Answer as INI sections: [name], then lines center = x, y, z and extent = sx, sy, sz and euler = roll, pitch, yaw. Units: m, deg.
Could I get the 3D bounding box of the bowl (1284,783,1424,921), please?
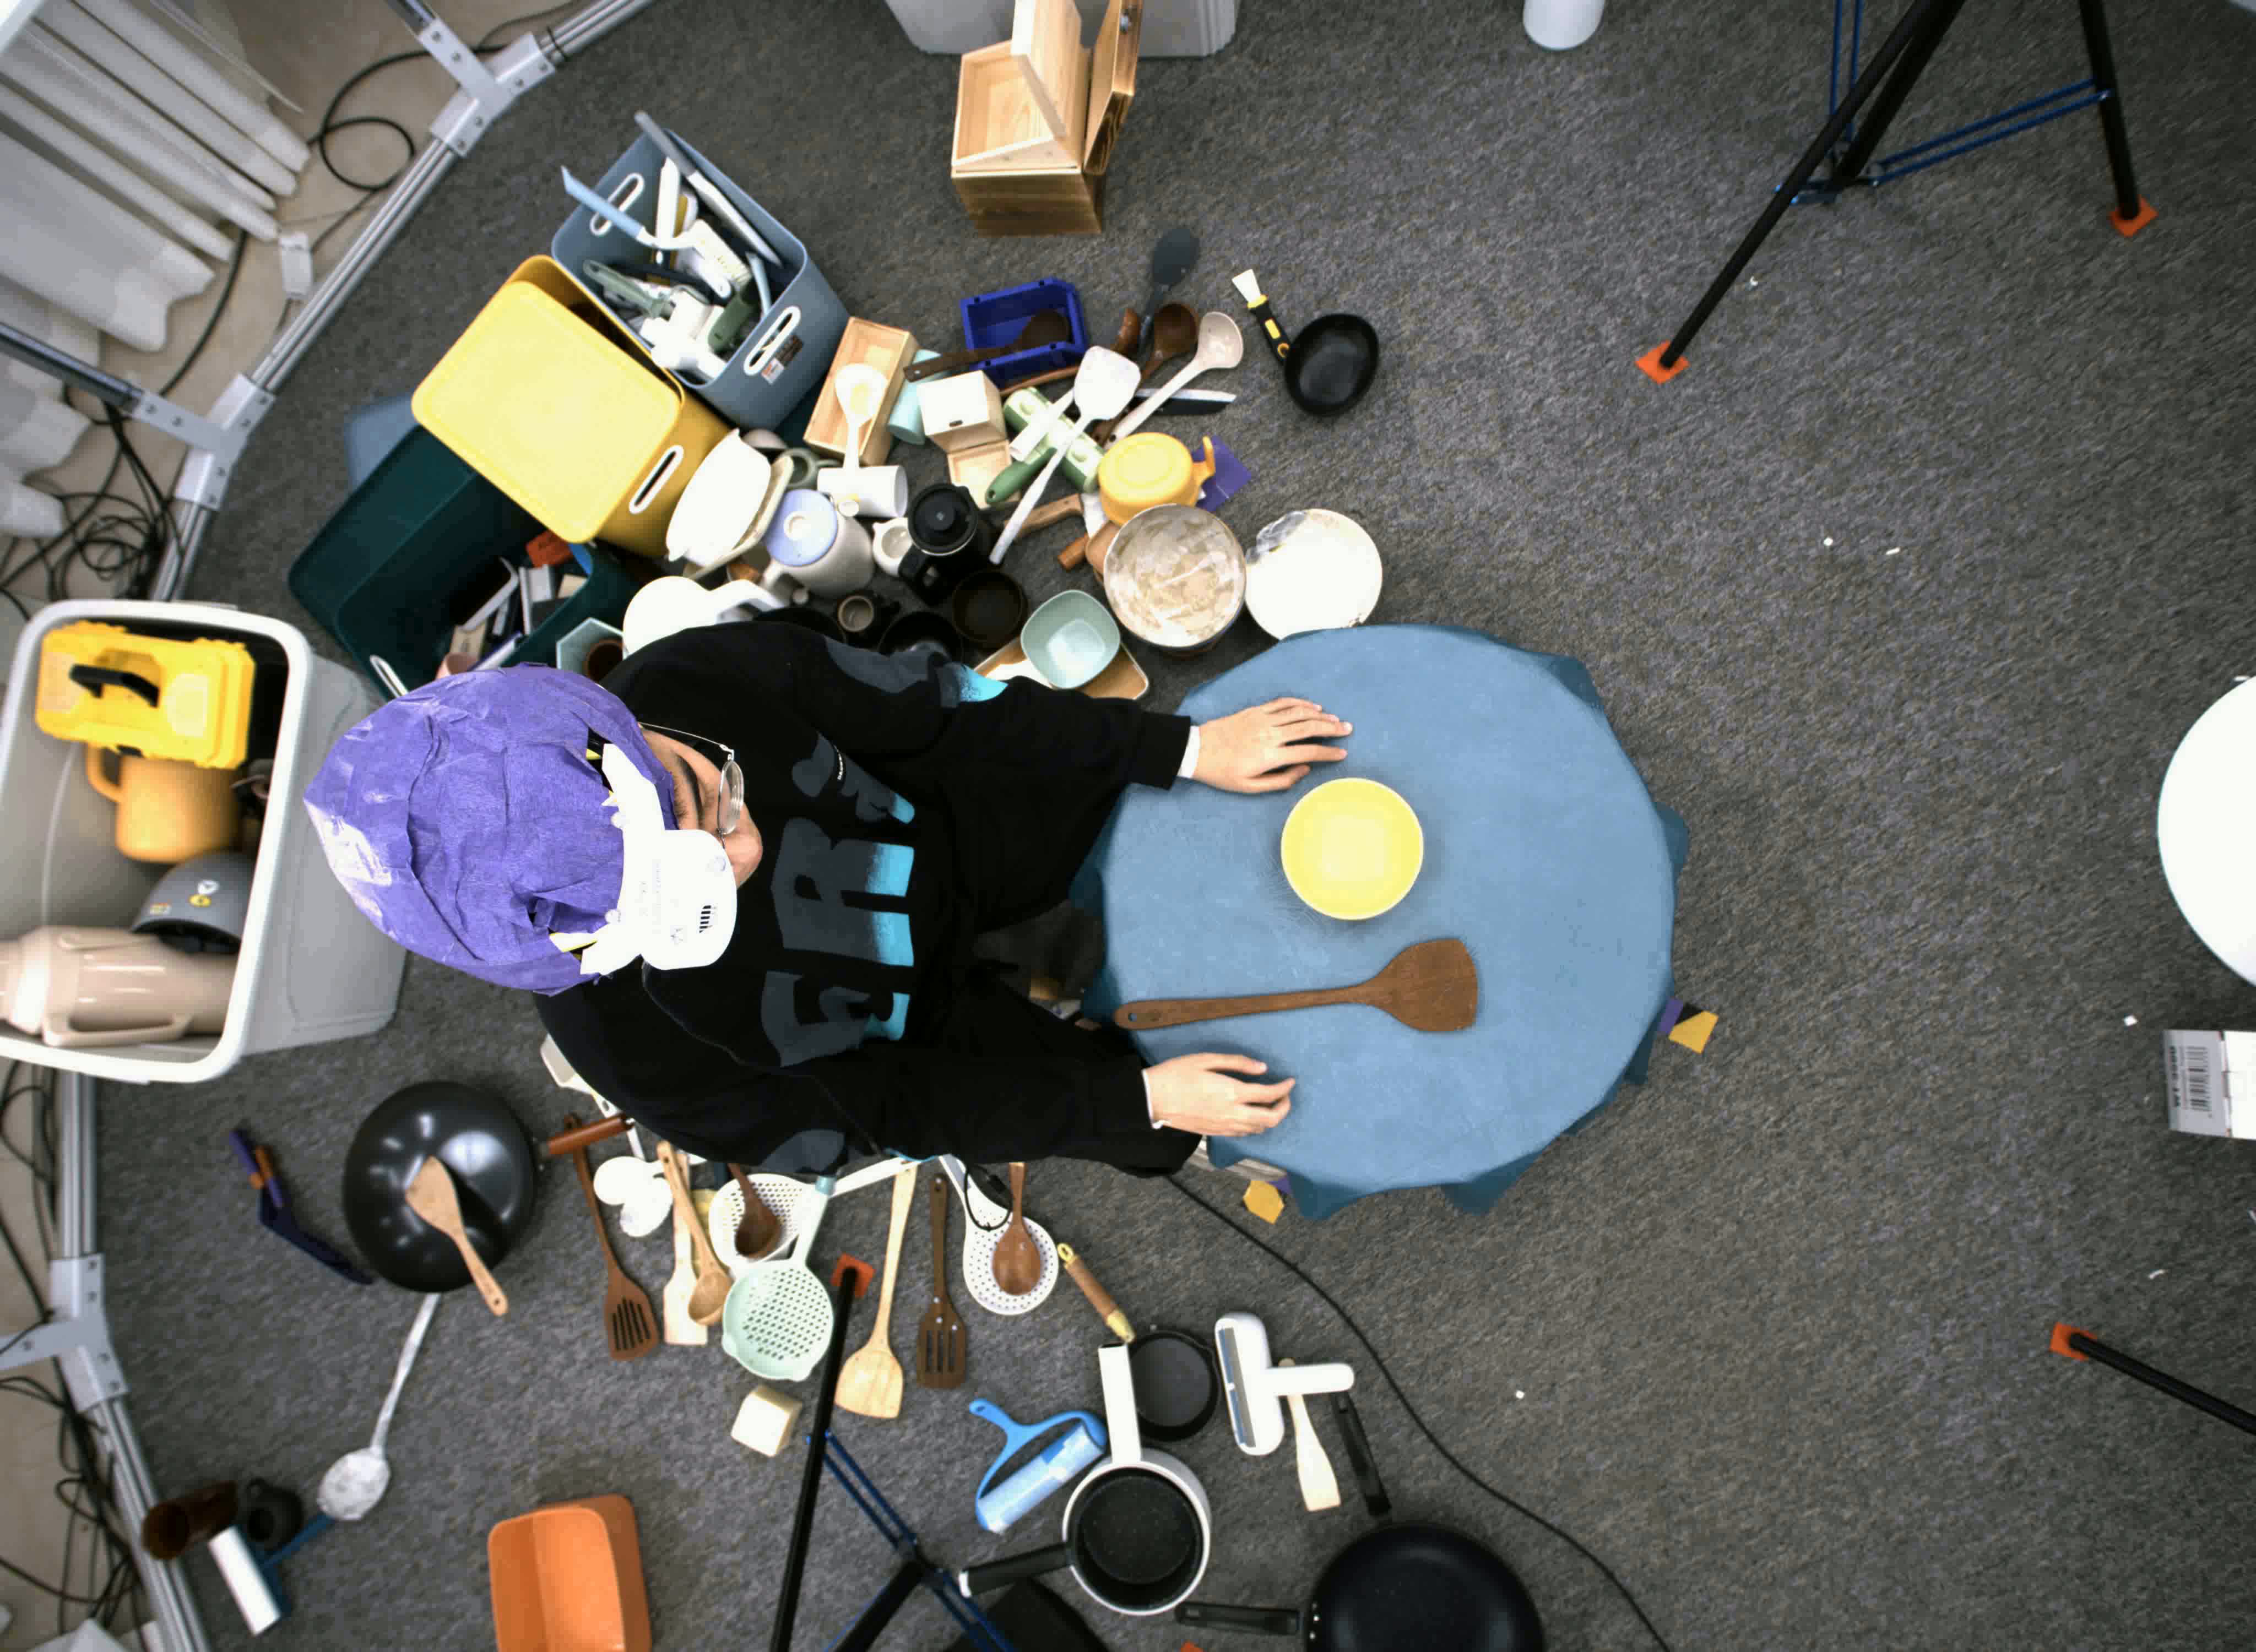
[bowl]
center = 0.237, 0.029, 1.446
extent = 0.146, 0.060, 0.144
euler = -2, 84, 12

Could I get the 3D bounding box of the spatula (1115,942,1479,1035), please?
[spatula]
center = 0.175, 0.187, 1.468
extent = 0.388, 0.016, 0.095
euler = -7, 84, 10
